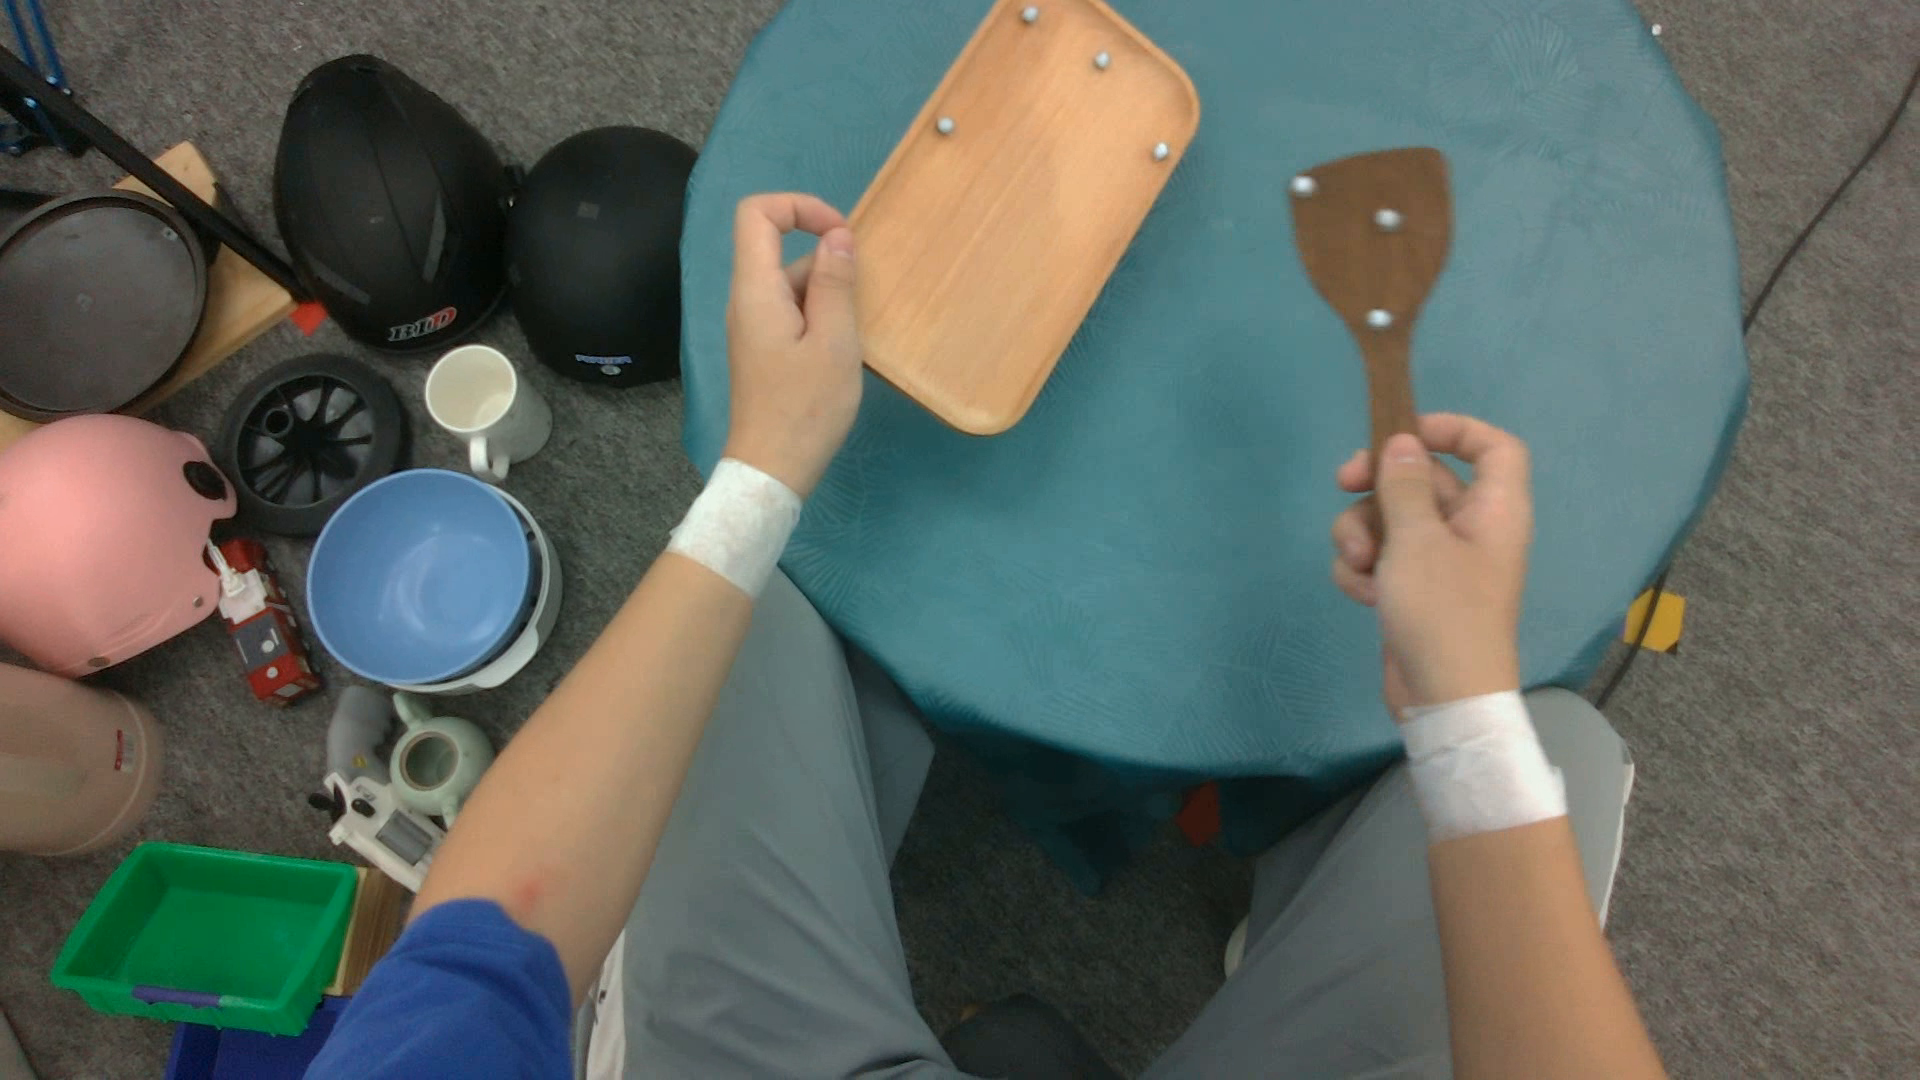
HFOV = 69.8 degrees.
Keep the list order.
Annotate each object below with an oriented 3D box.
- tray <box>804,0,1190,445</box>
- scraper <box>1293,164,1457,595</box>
[{"bbox_3d":[0.025,-0.173,0.725,0.130,0.023,0.251,34,71,-8],"label":"tray"},{"bbox_3d":[0.199,-0.078,0.645,0.076,0.011,0.212,-4,74,17],"label":"scraper"}]
